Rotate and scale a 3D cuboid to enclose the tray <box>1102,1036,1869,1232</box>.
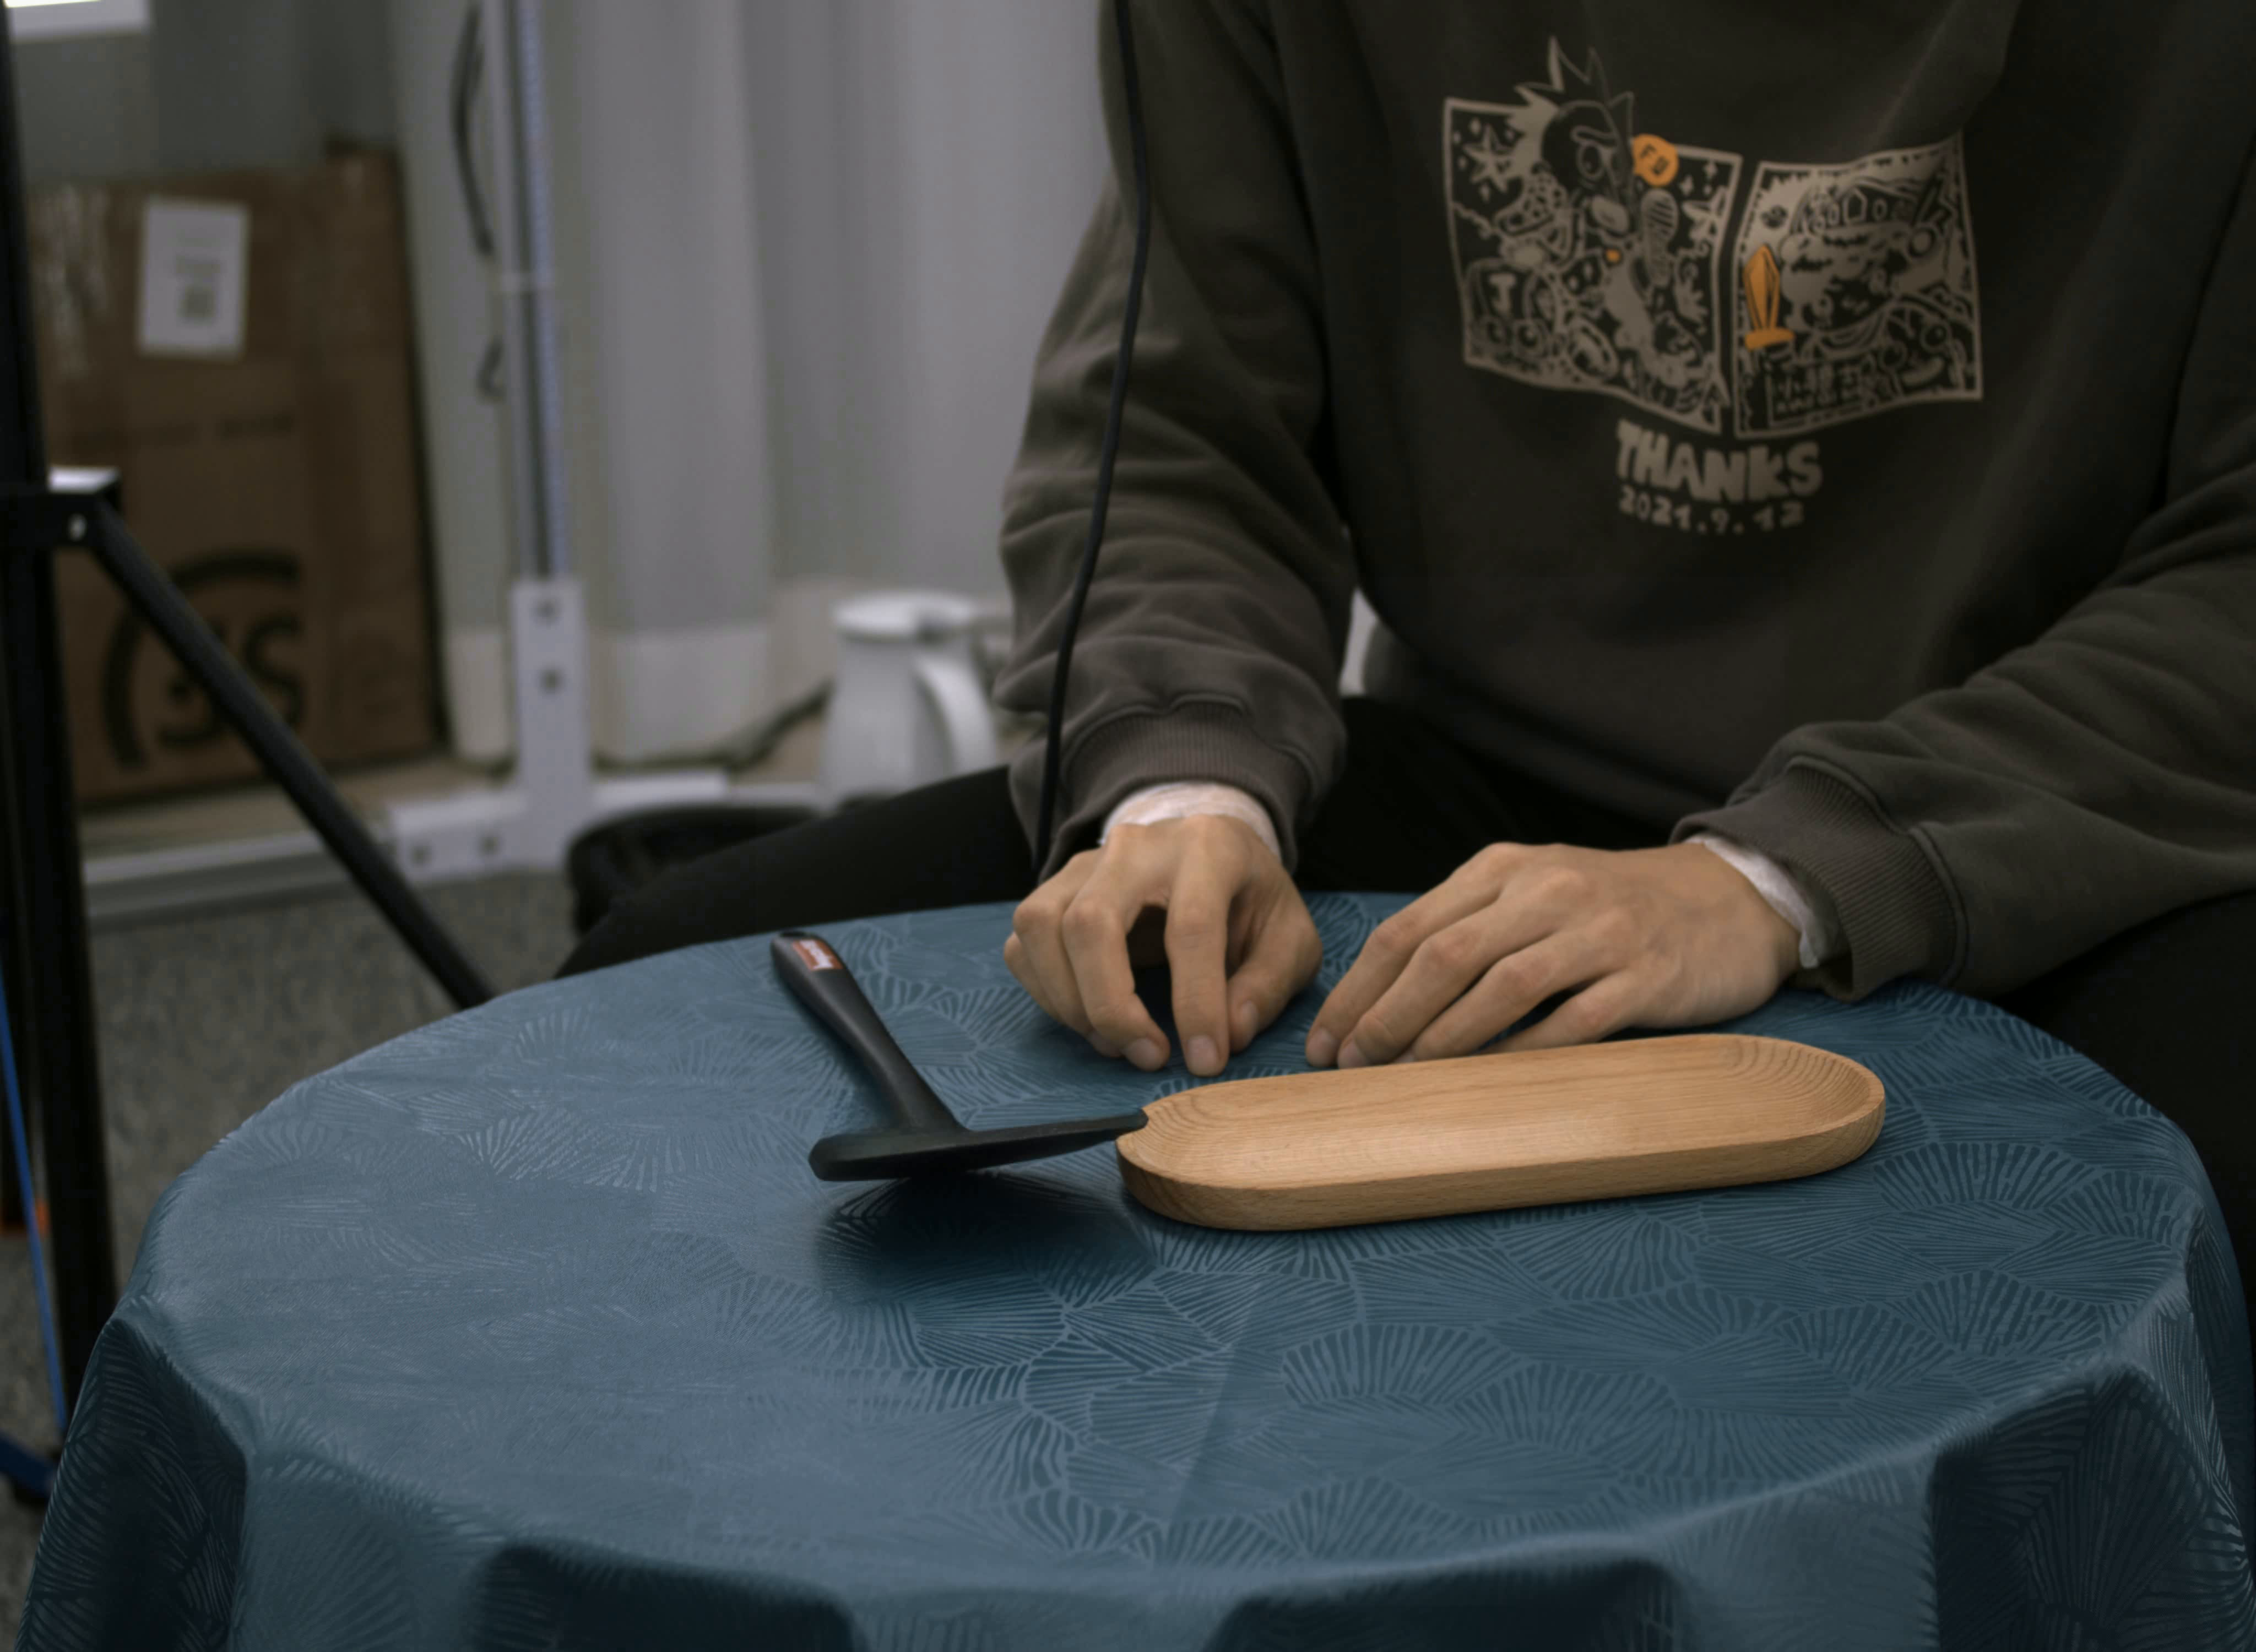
[{"bbox_3d":[0.107,0.092,1.572,0.228,0.020,0.103,-6,16,-8],"label":"tray"}]

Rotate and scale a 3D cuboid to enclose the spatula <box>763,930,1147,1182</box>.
[{"bbox_3d":[-0.078,0.066,1.657,0.098,0.040,0.331,-5,16,-13],"label":"spatula"}]
